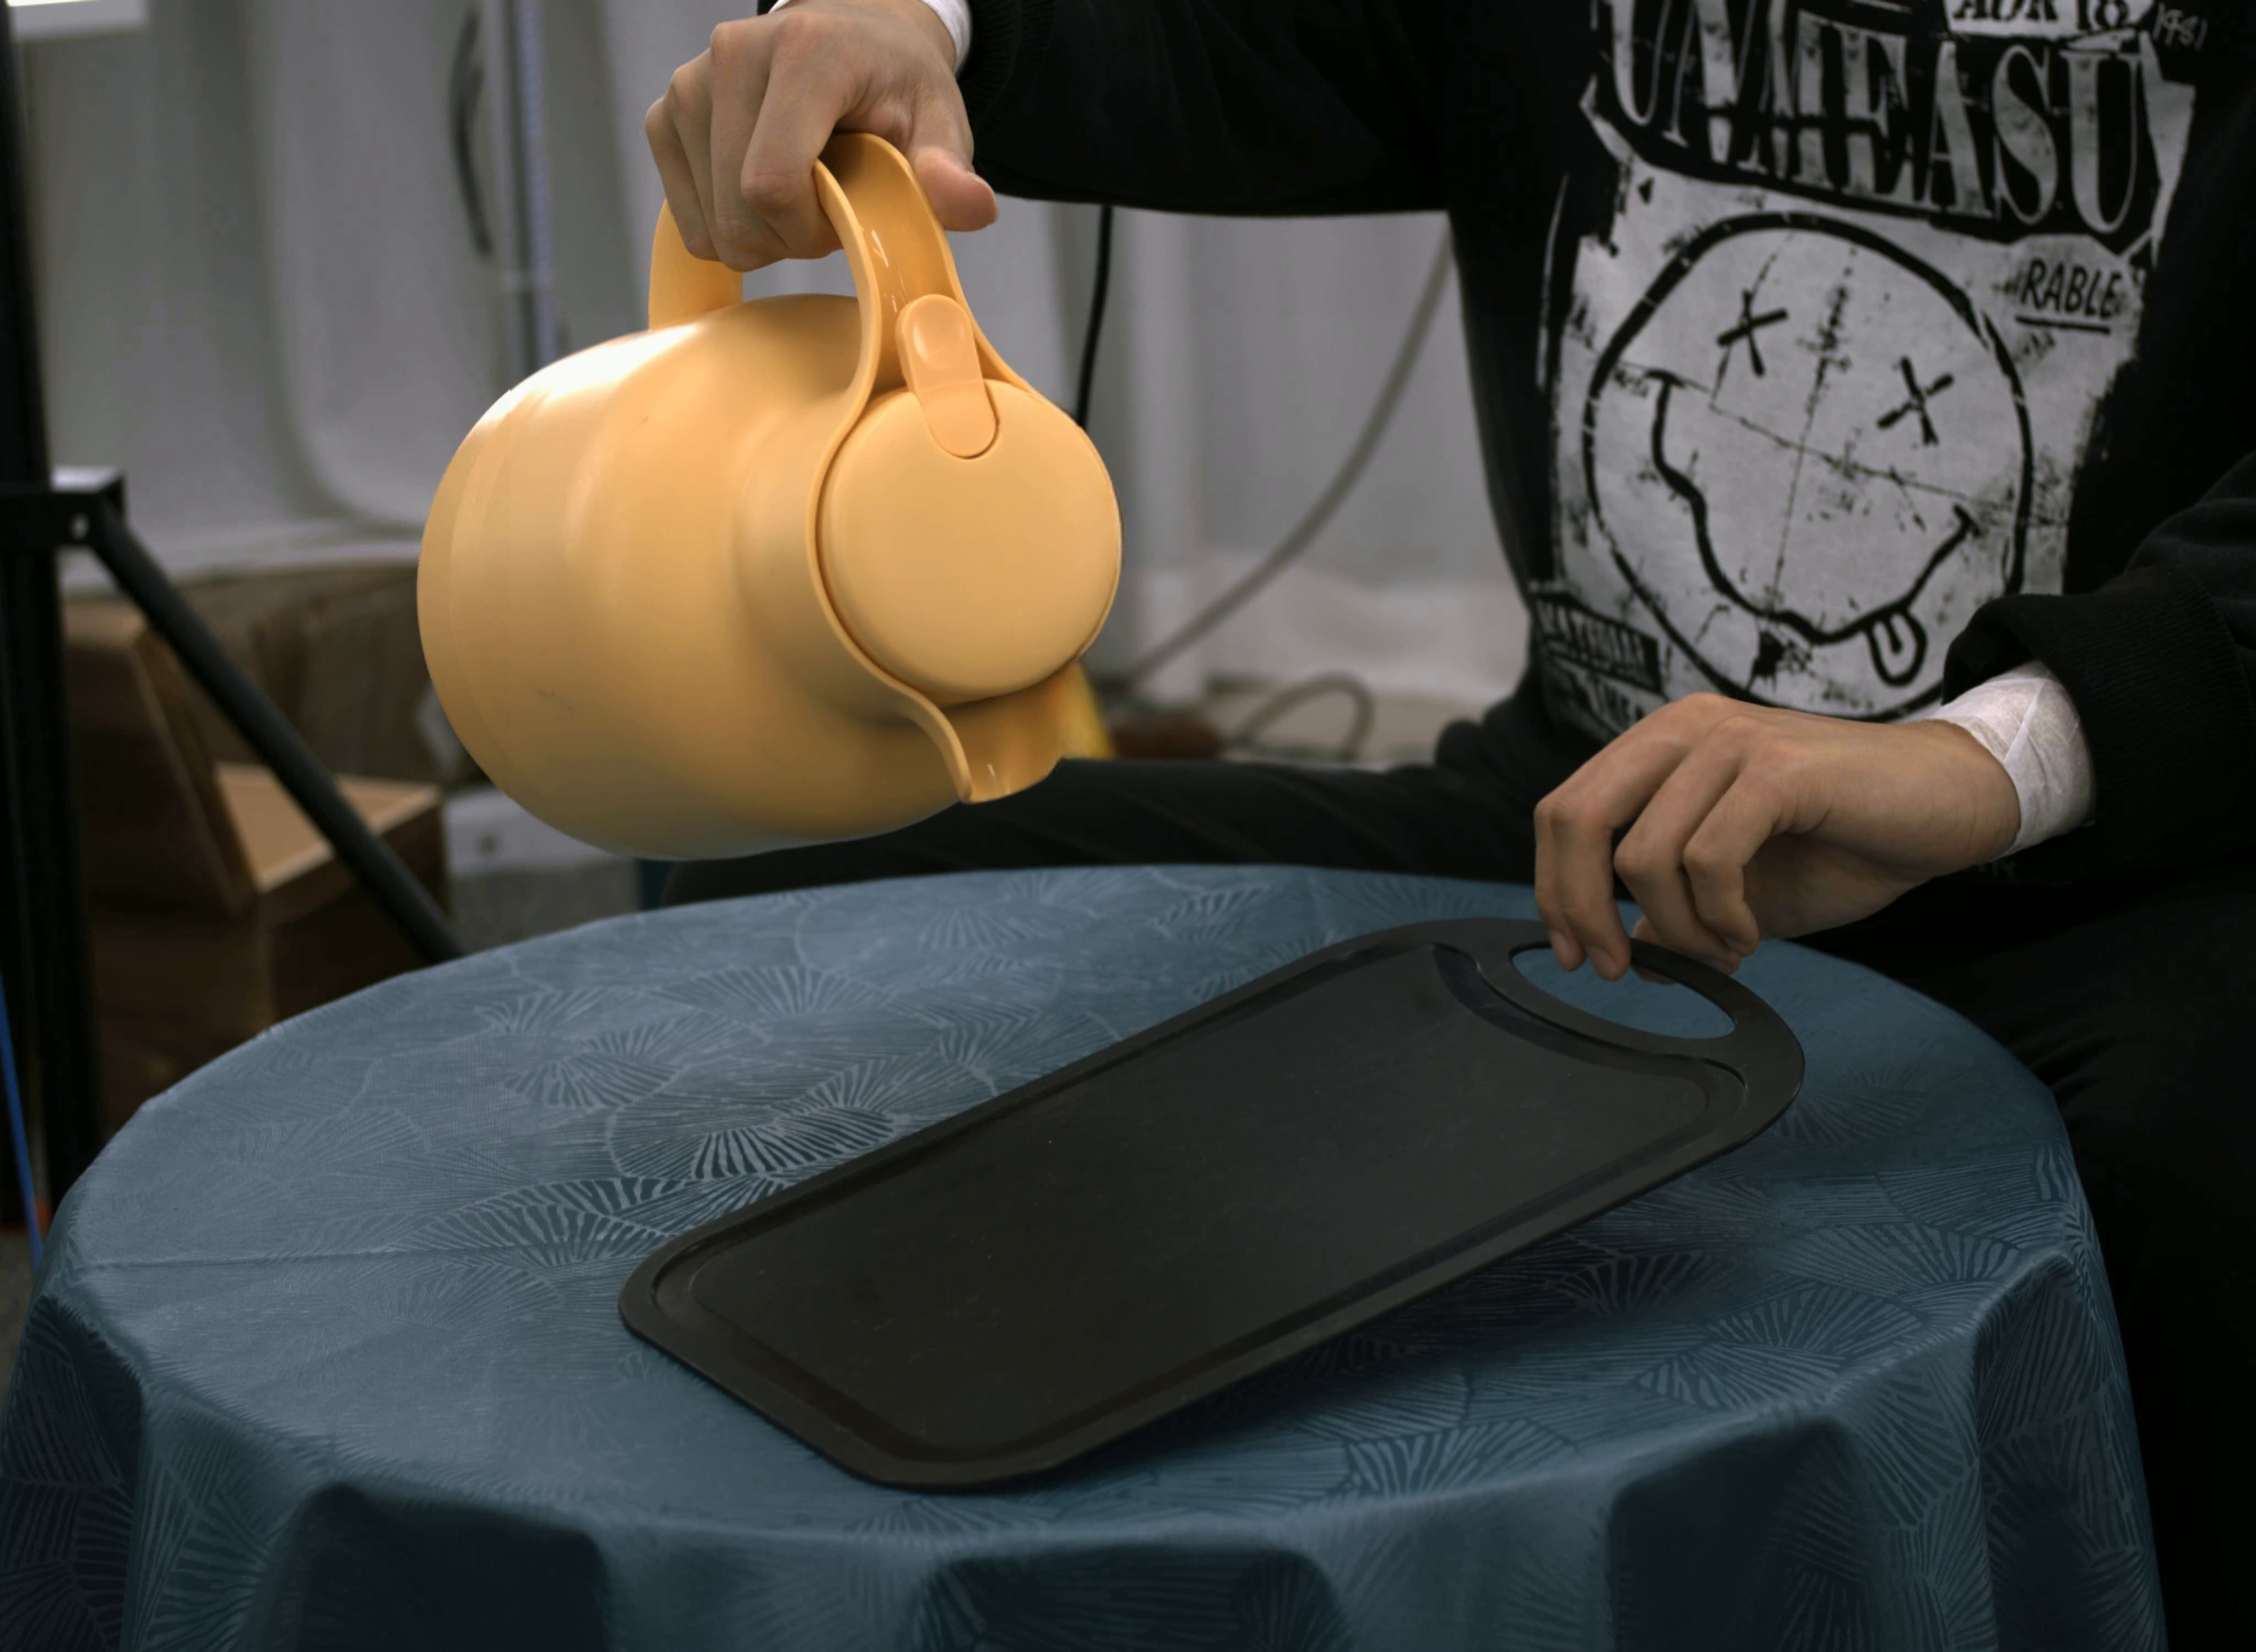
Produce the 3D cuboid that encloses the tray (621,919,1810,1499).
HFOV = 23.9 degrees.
[{"bbox_3d":[0.030,0.095,1.475,0.320,0.010,0.216,-23,24,-24],"label":"tray"}]

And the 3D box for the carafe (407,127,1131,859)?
[{"bbox_3d":[-0.099,-0.094,1.560,0.160,0.203,0.265,-9,2,-30],"label":"carafe"}]
